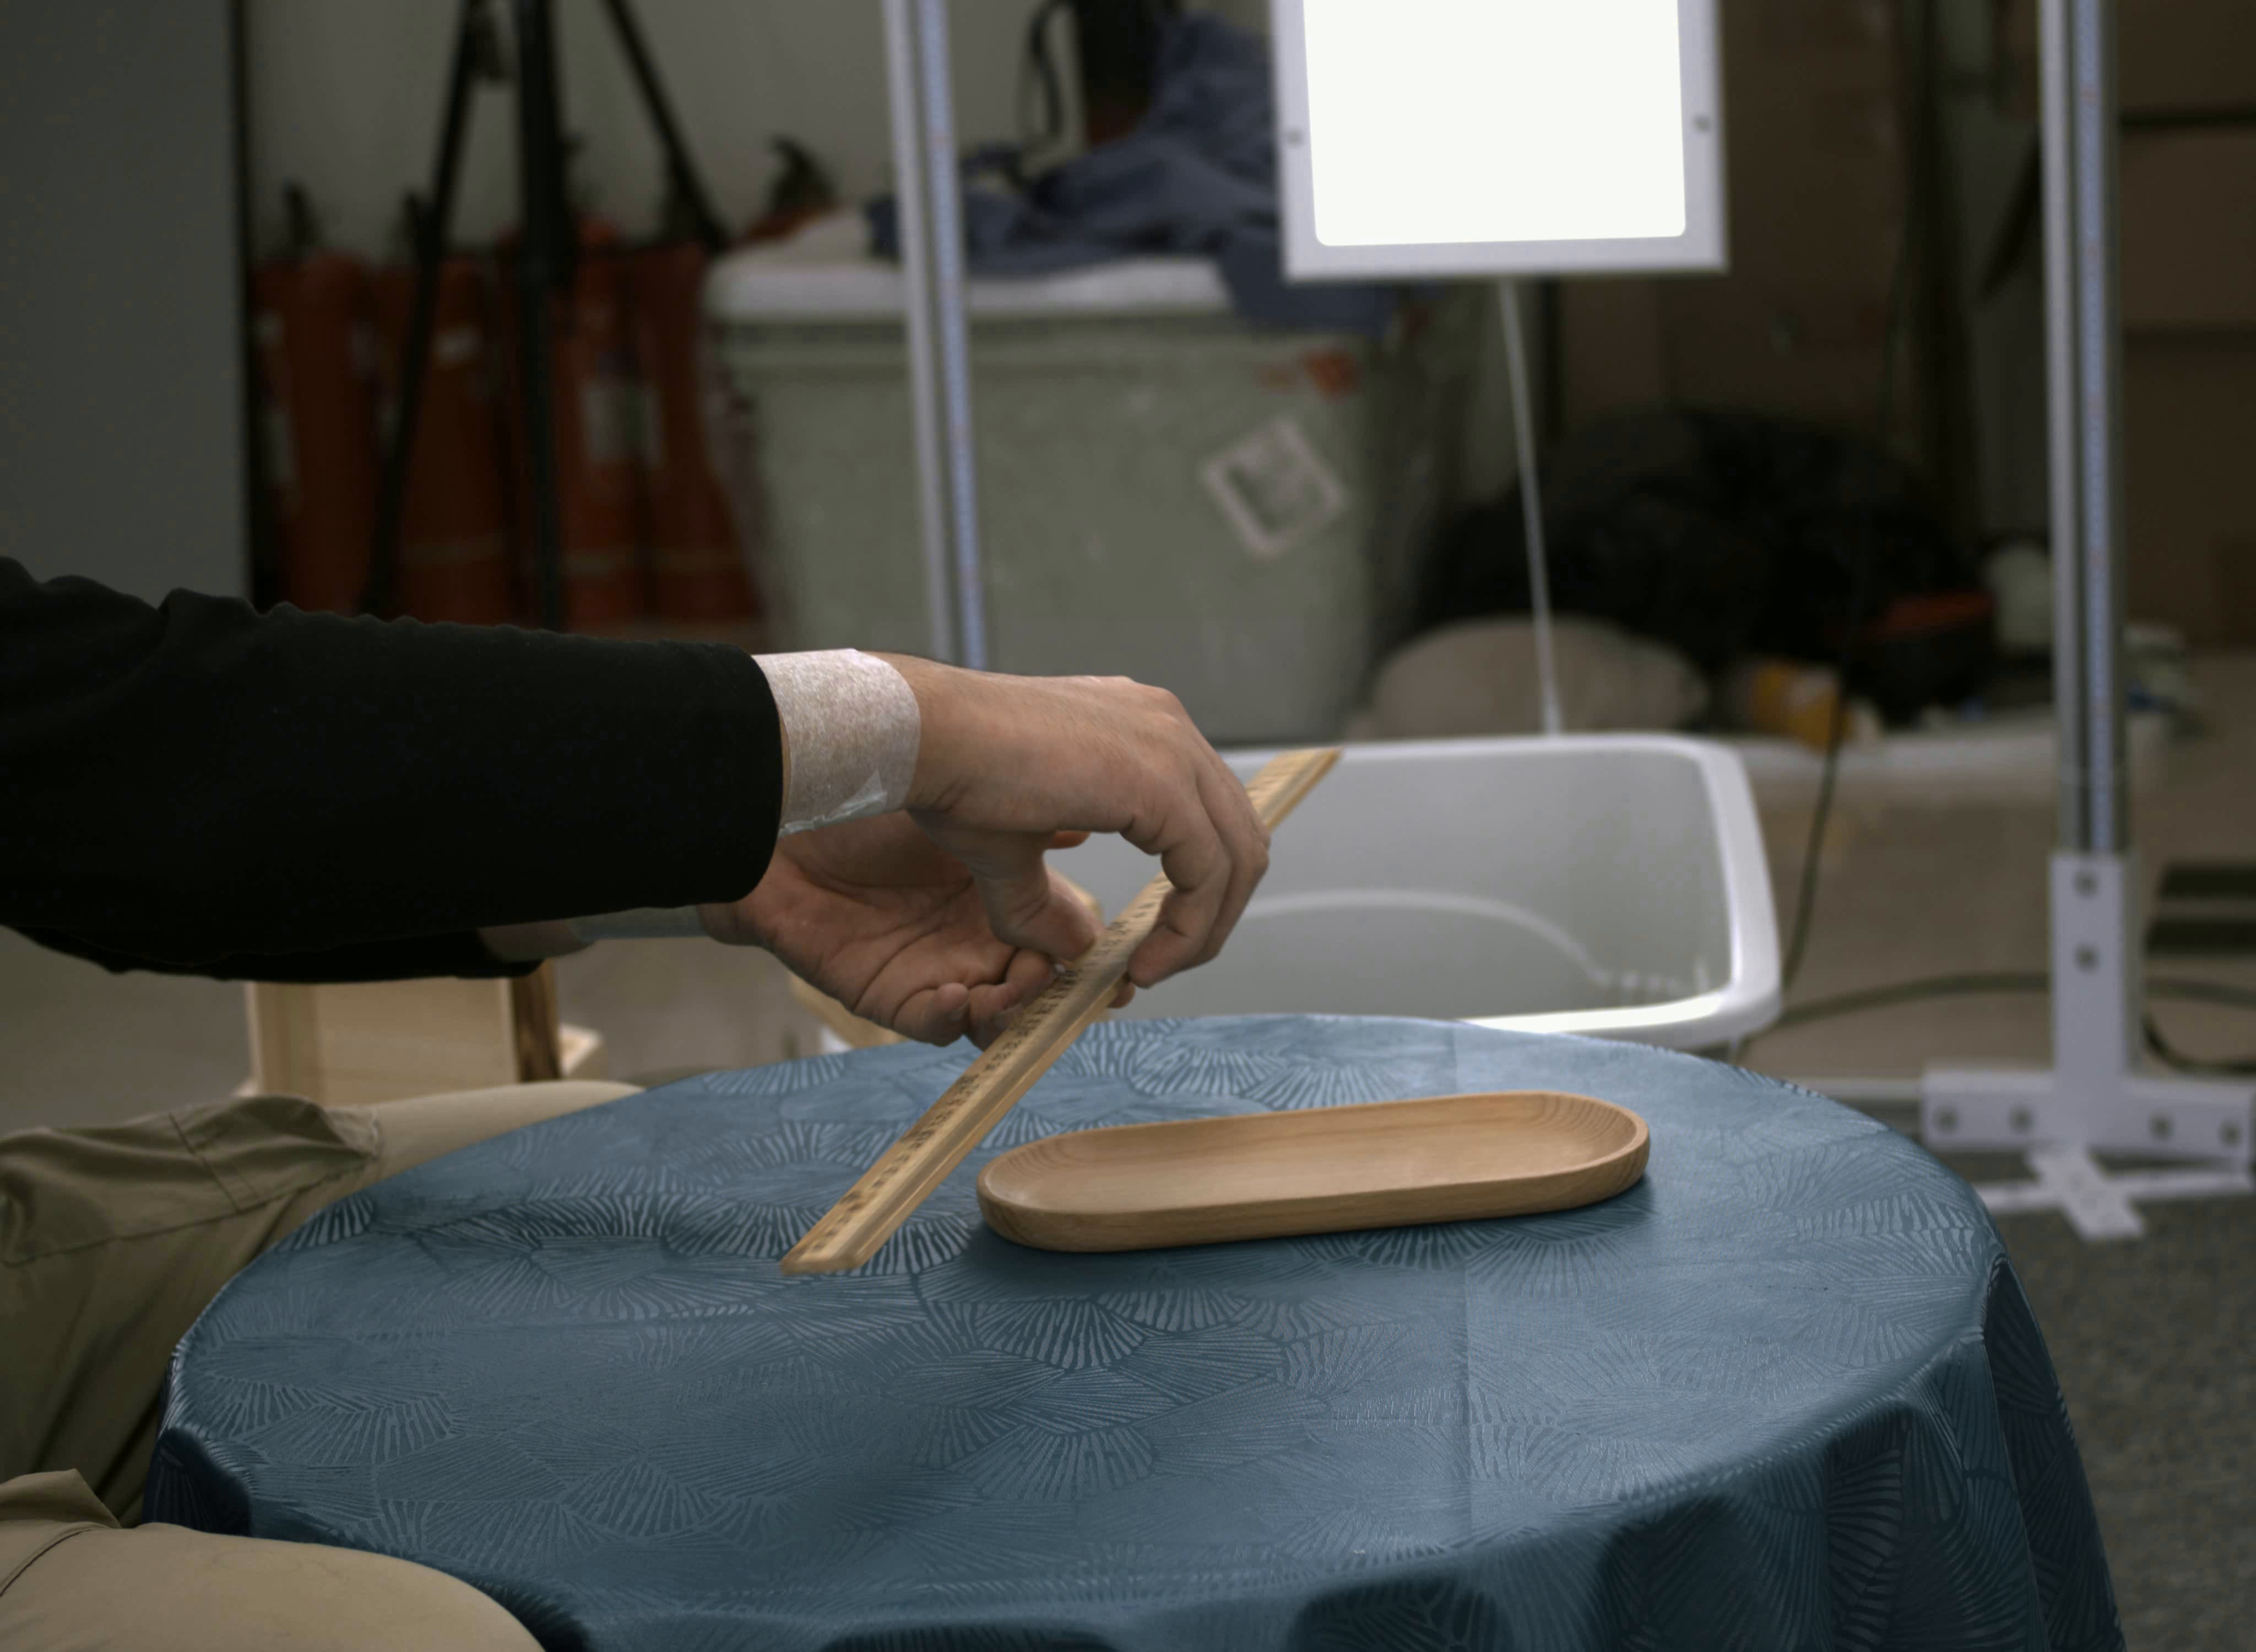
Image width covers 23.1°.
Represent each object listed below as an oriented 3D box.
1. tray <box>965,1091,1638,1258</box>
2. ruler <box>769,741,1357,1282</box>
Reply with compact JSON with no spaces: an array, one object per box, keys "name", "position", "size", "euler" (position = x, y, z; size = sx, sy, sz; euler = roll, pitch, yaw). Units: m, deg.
[{"name":"tray","position":[0.060,0.119,1.873],"size":[0.230,0.020,0.102],"euler":[-7,13,-2]},{"name":"ruler","position":[-0.010,0.049,1.763],"size":[0.027,0.006,0.492],"euler":[-11,14,23]}]
